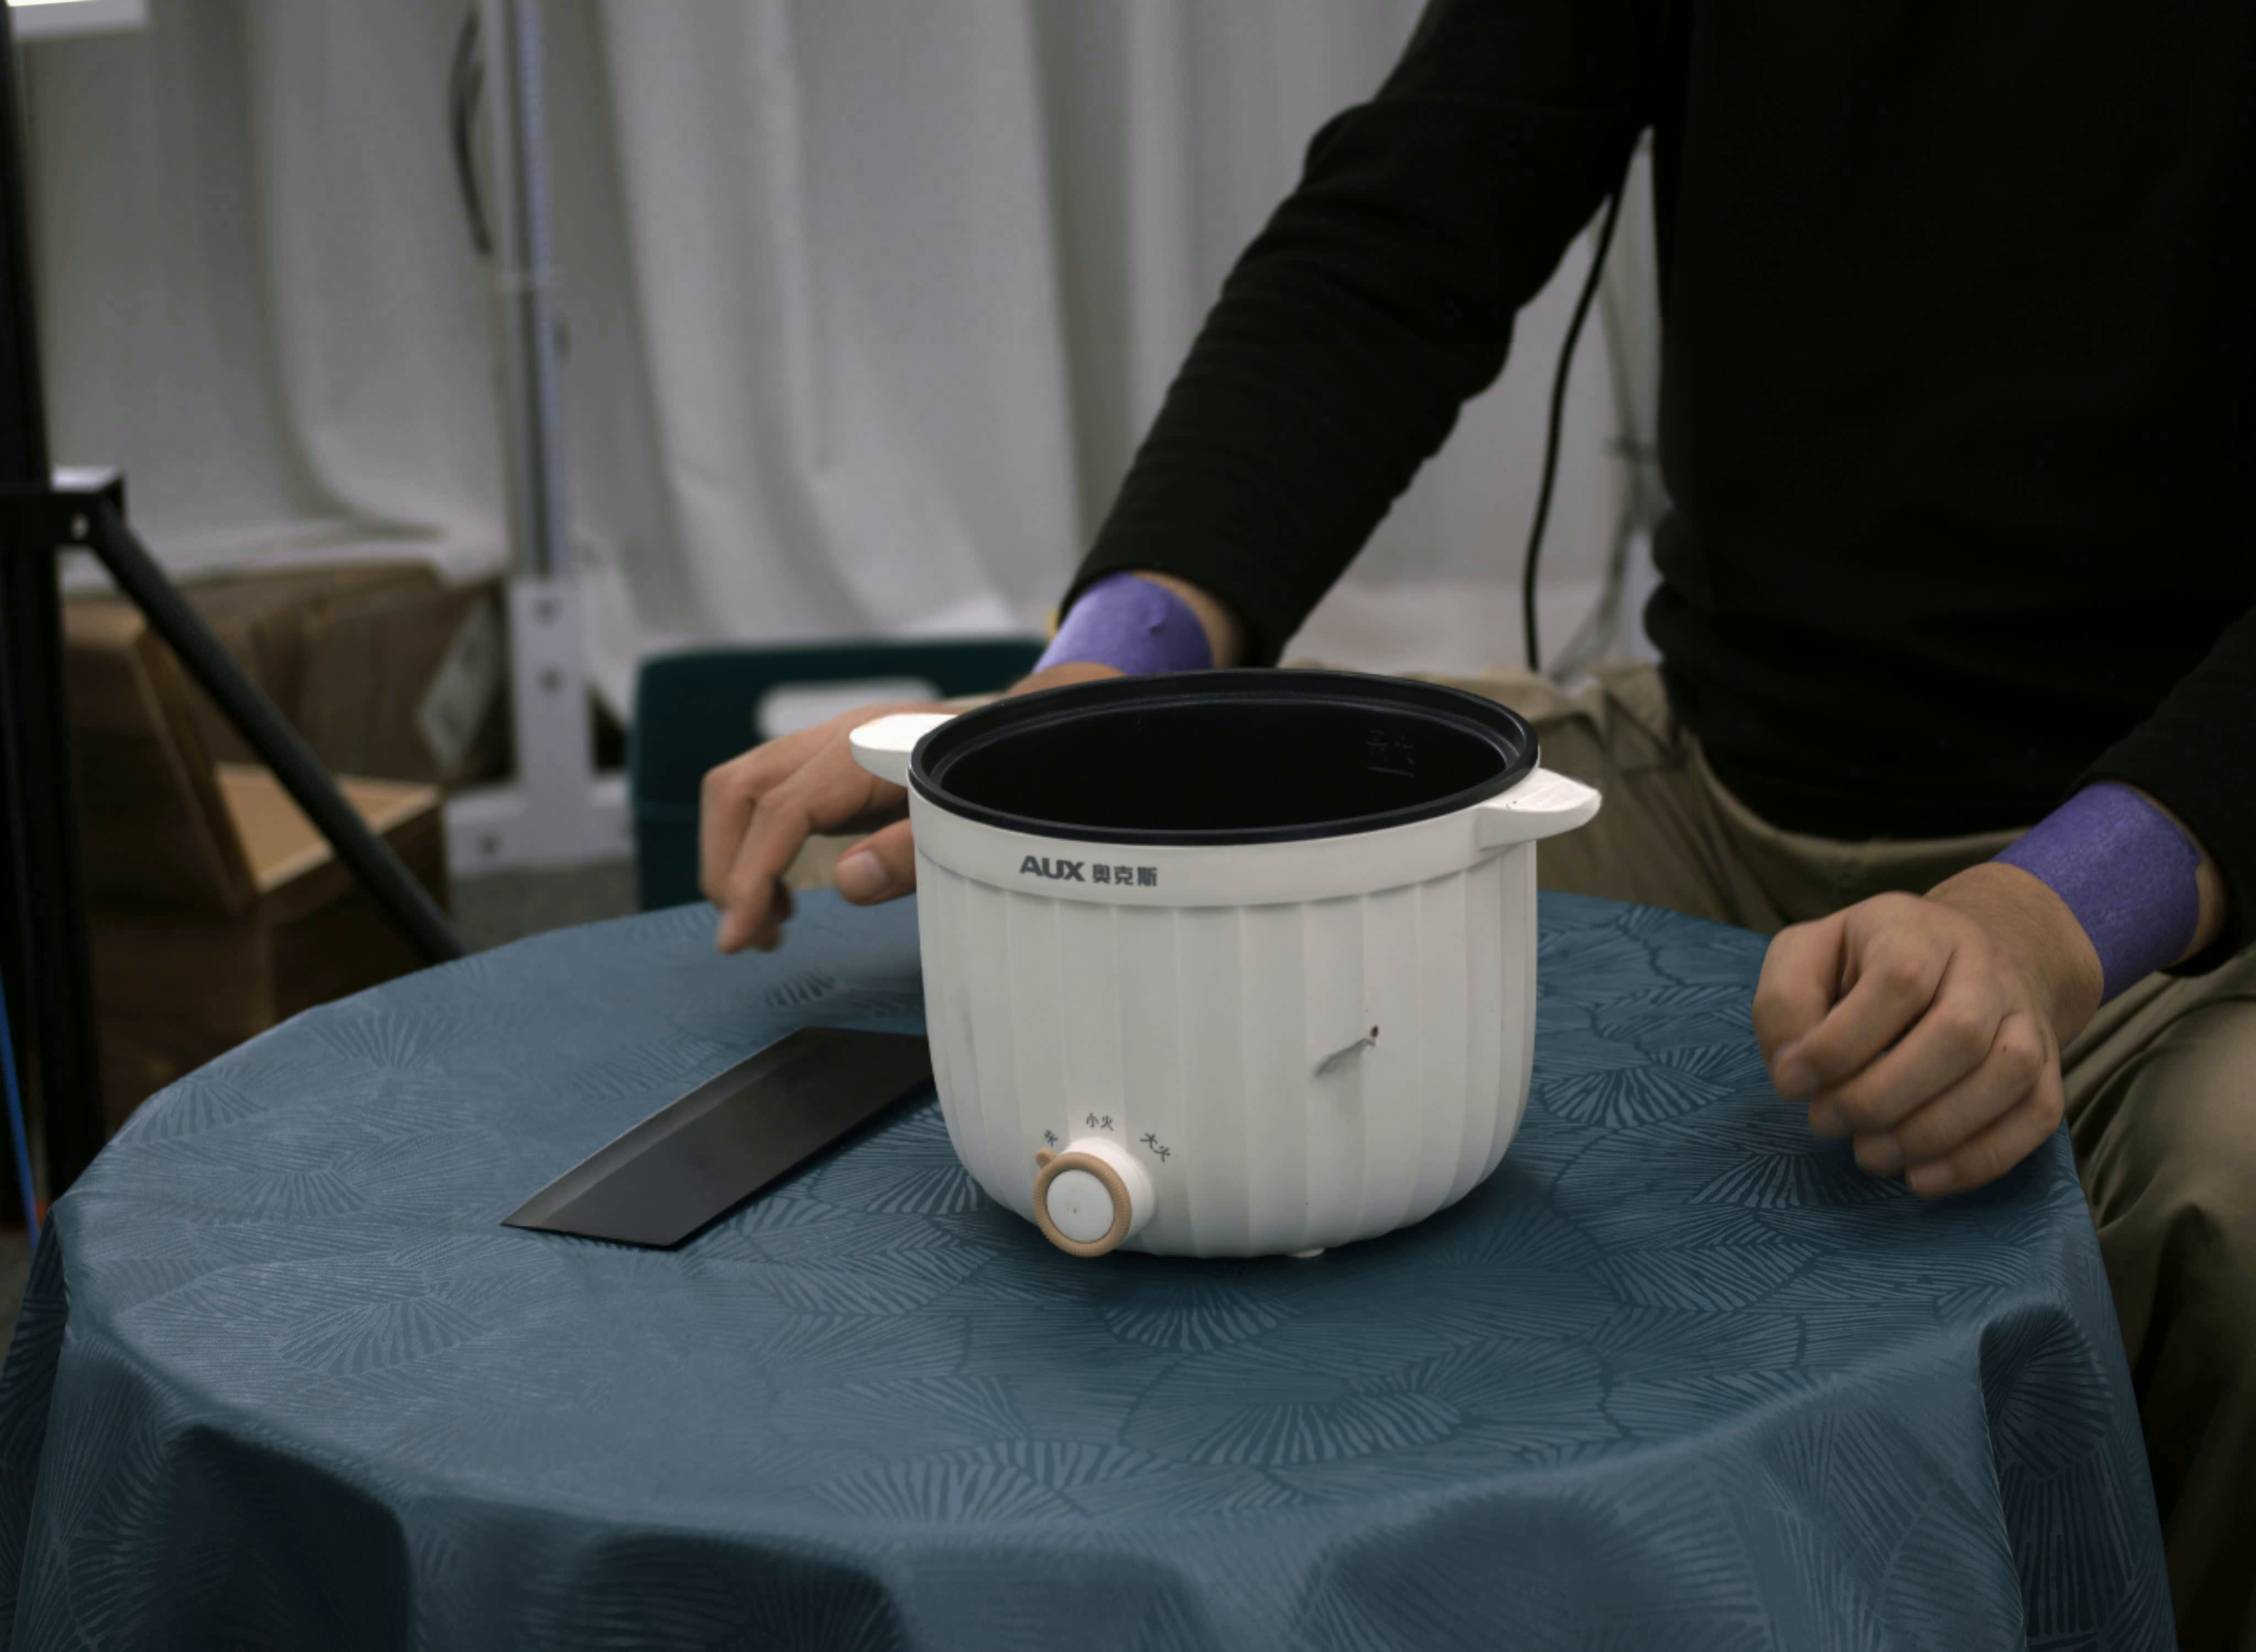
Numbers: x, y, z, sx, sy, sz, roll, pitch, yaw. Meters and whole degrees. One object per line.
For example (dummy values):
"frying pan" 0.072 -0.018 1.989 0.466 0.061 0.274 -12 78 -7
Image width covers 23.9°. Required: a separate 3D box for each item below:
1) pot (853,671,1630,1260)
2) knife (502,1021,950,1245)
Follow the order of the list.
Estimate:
"pot" 0.029 0.043 1.528 0.244 0.143 0.187 4 13 27
"knife" -0.084 0.076 1.659 0.082 0.021 0.296 7 21 33
